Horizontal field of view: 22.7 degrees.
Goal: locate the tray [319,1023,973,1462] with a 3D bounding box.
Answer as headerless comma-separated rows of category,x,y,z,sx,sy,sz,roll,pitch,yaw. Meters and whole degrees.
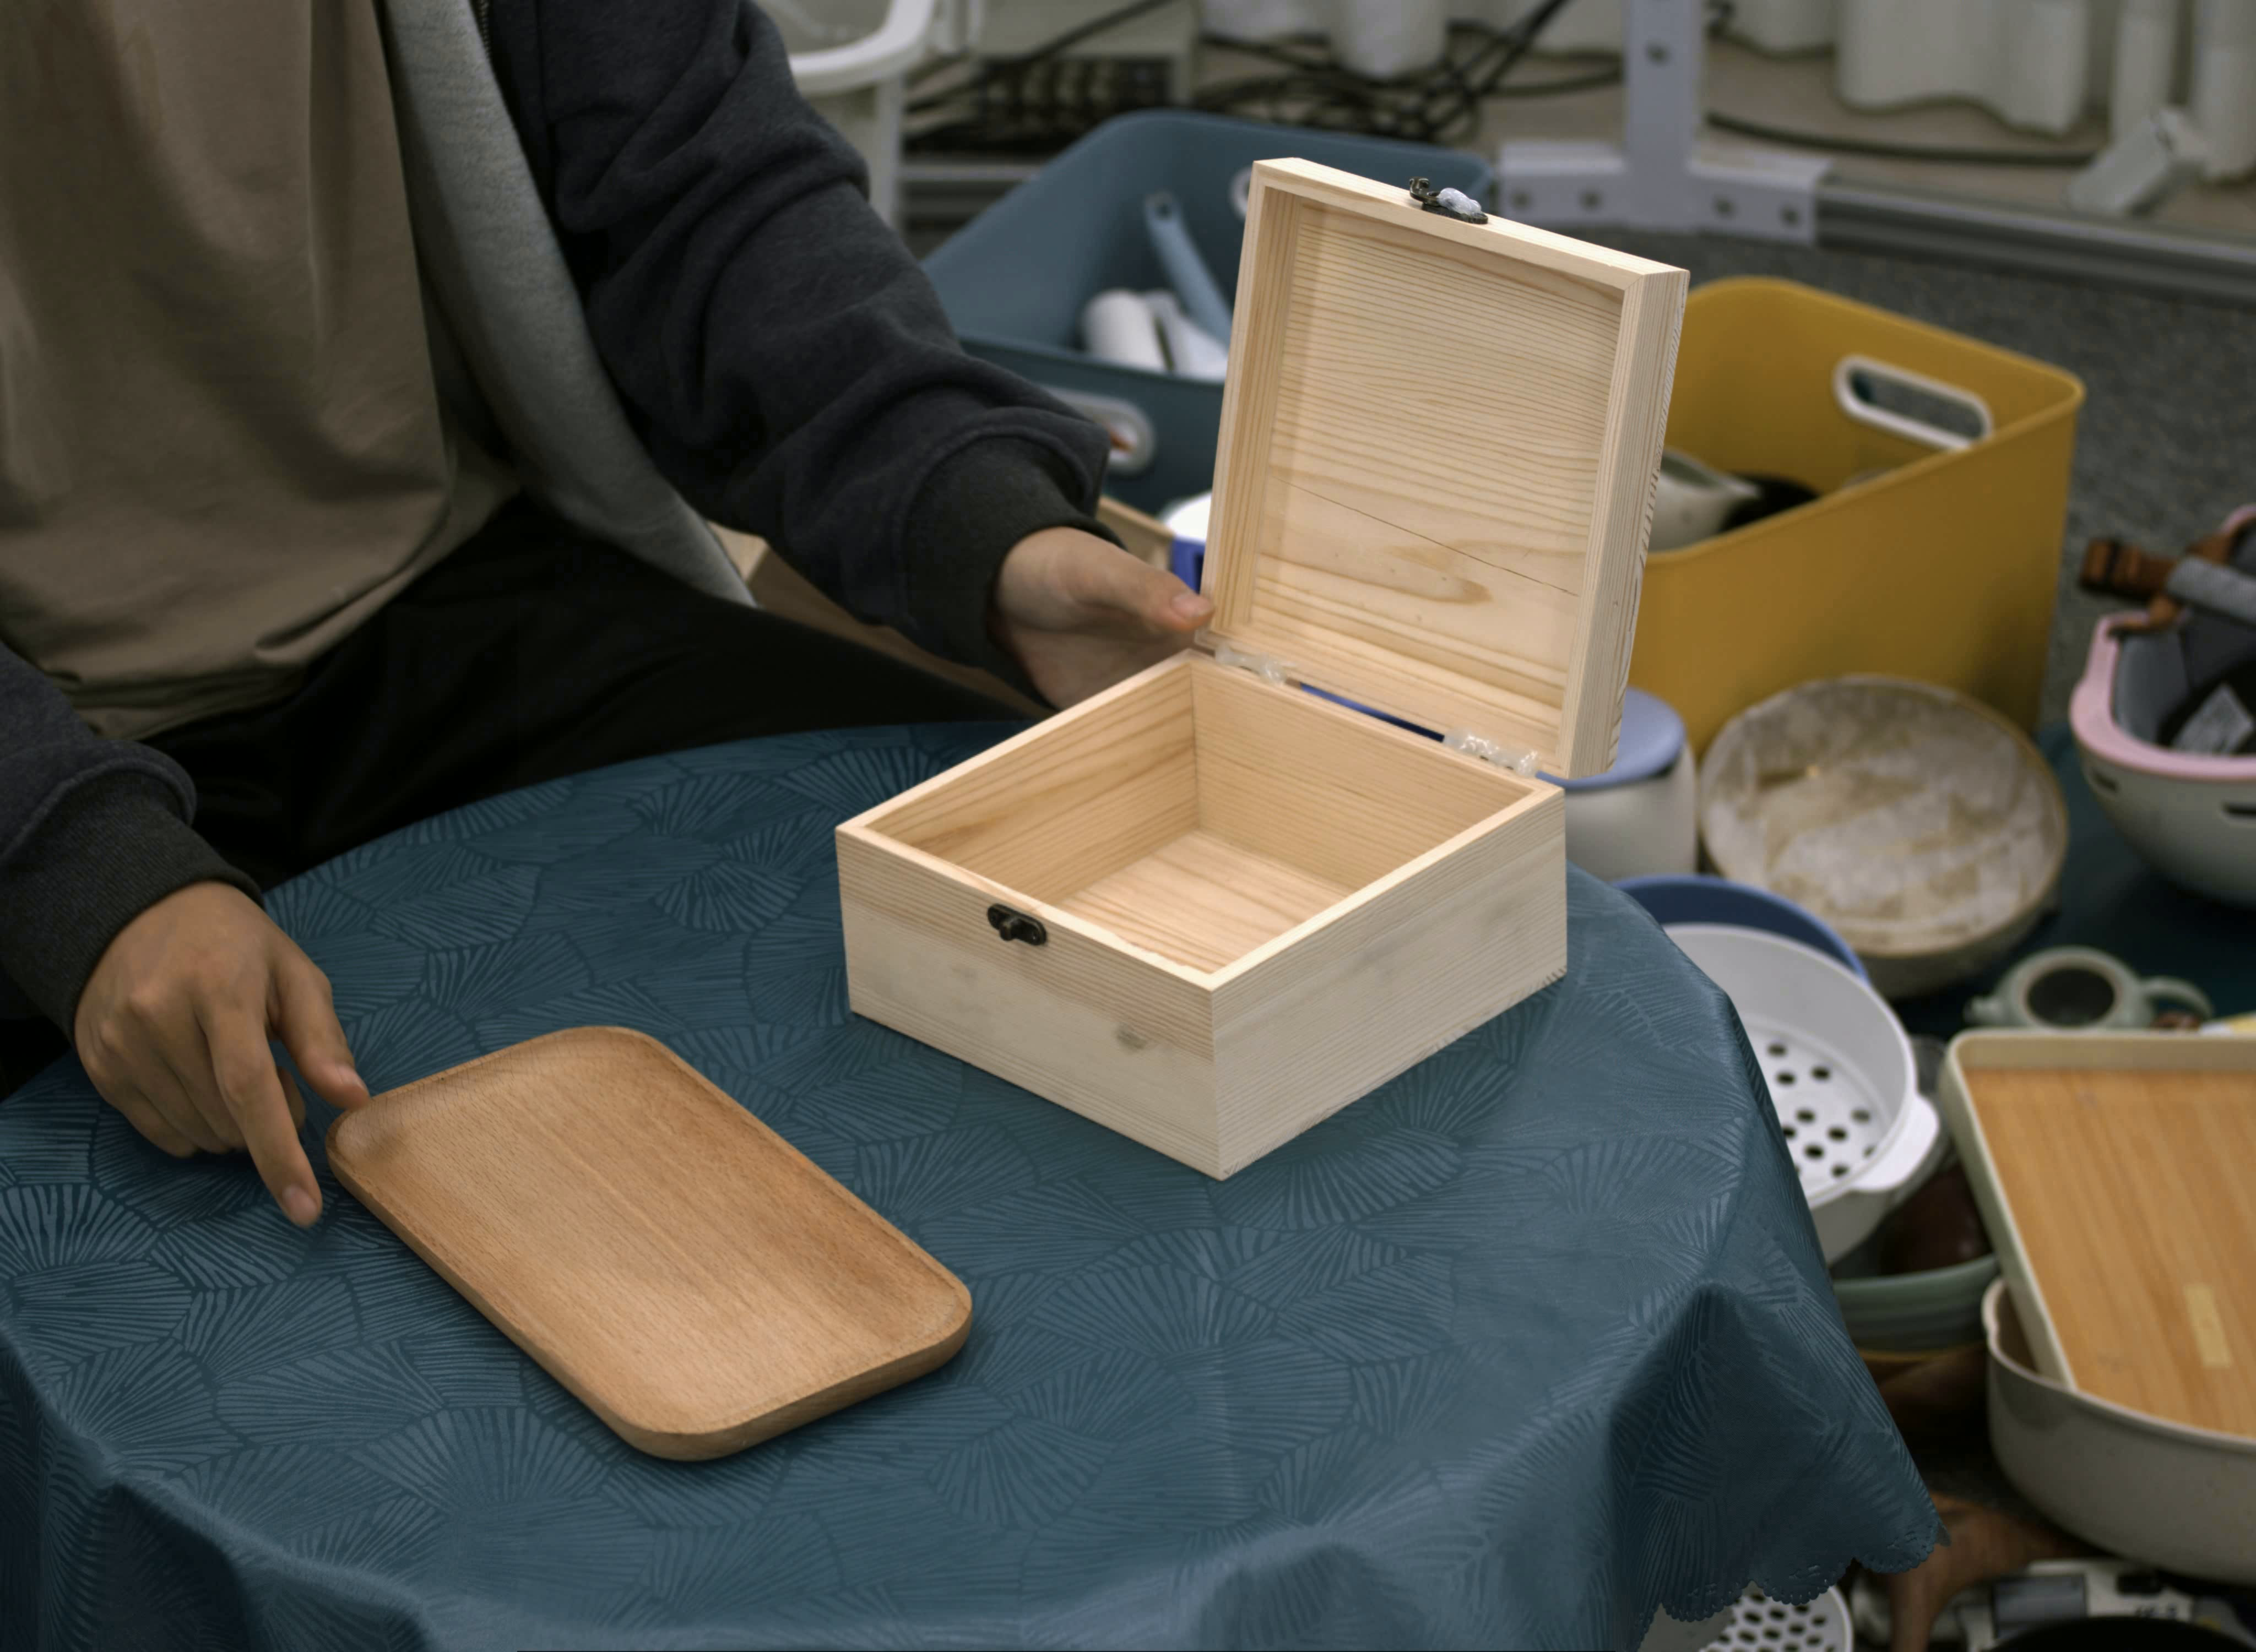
tray,-0.160,0.134,1.836,0.131,0.022,0.251,-17,30,-30

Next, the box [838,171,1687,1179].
box,0.045,-0.062,1.950,0.181,0.251,0.268,17,32,40
